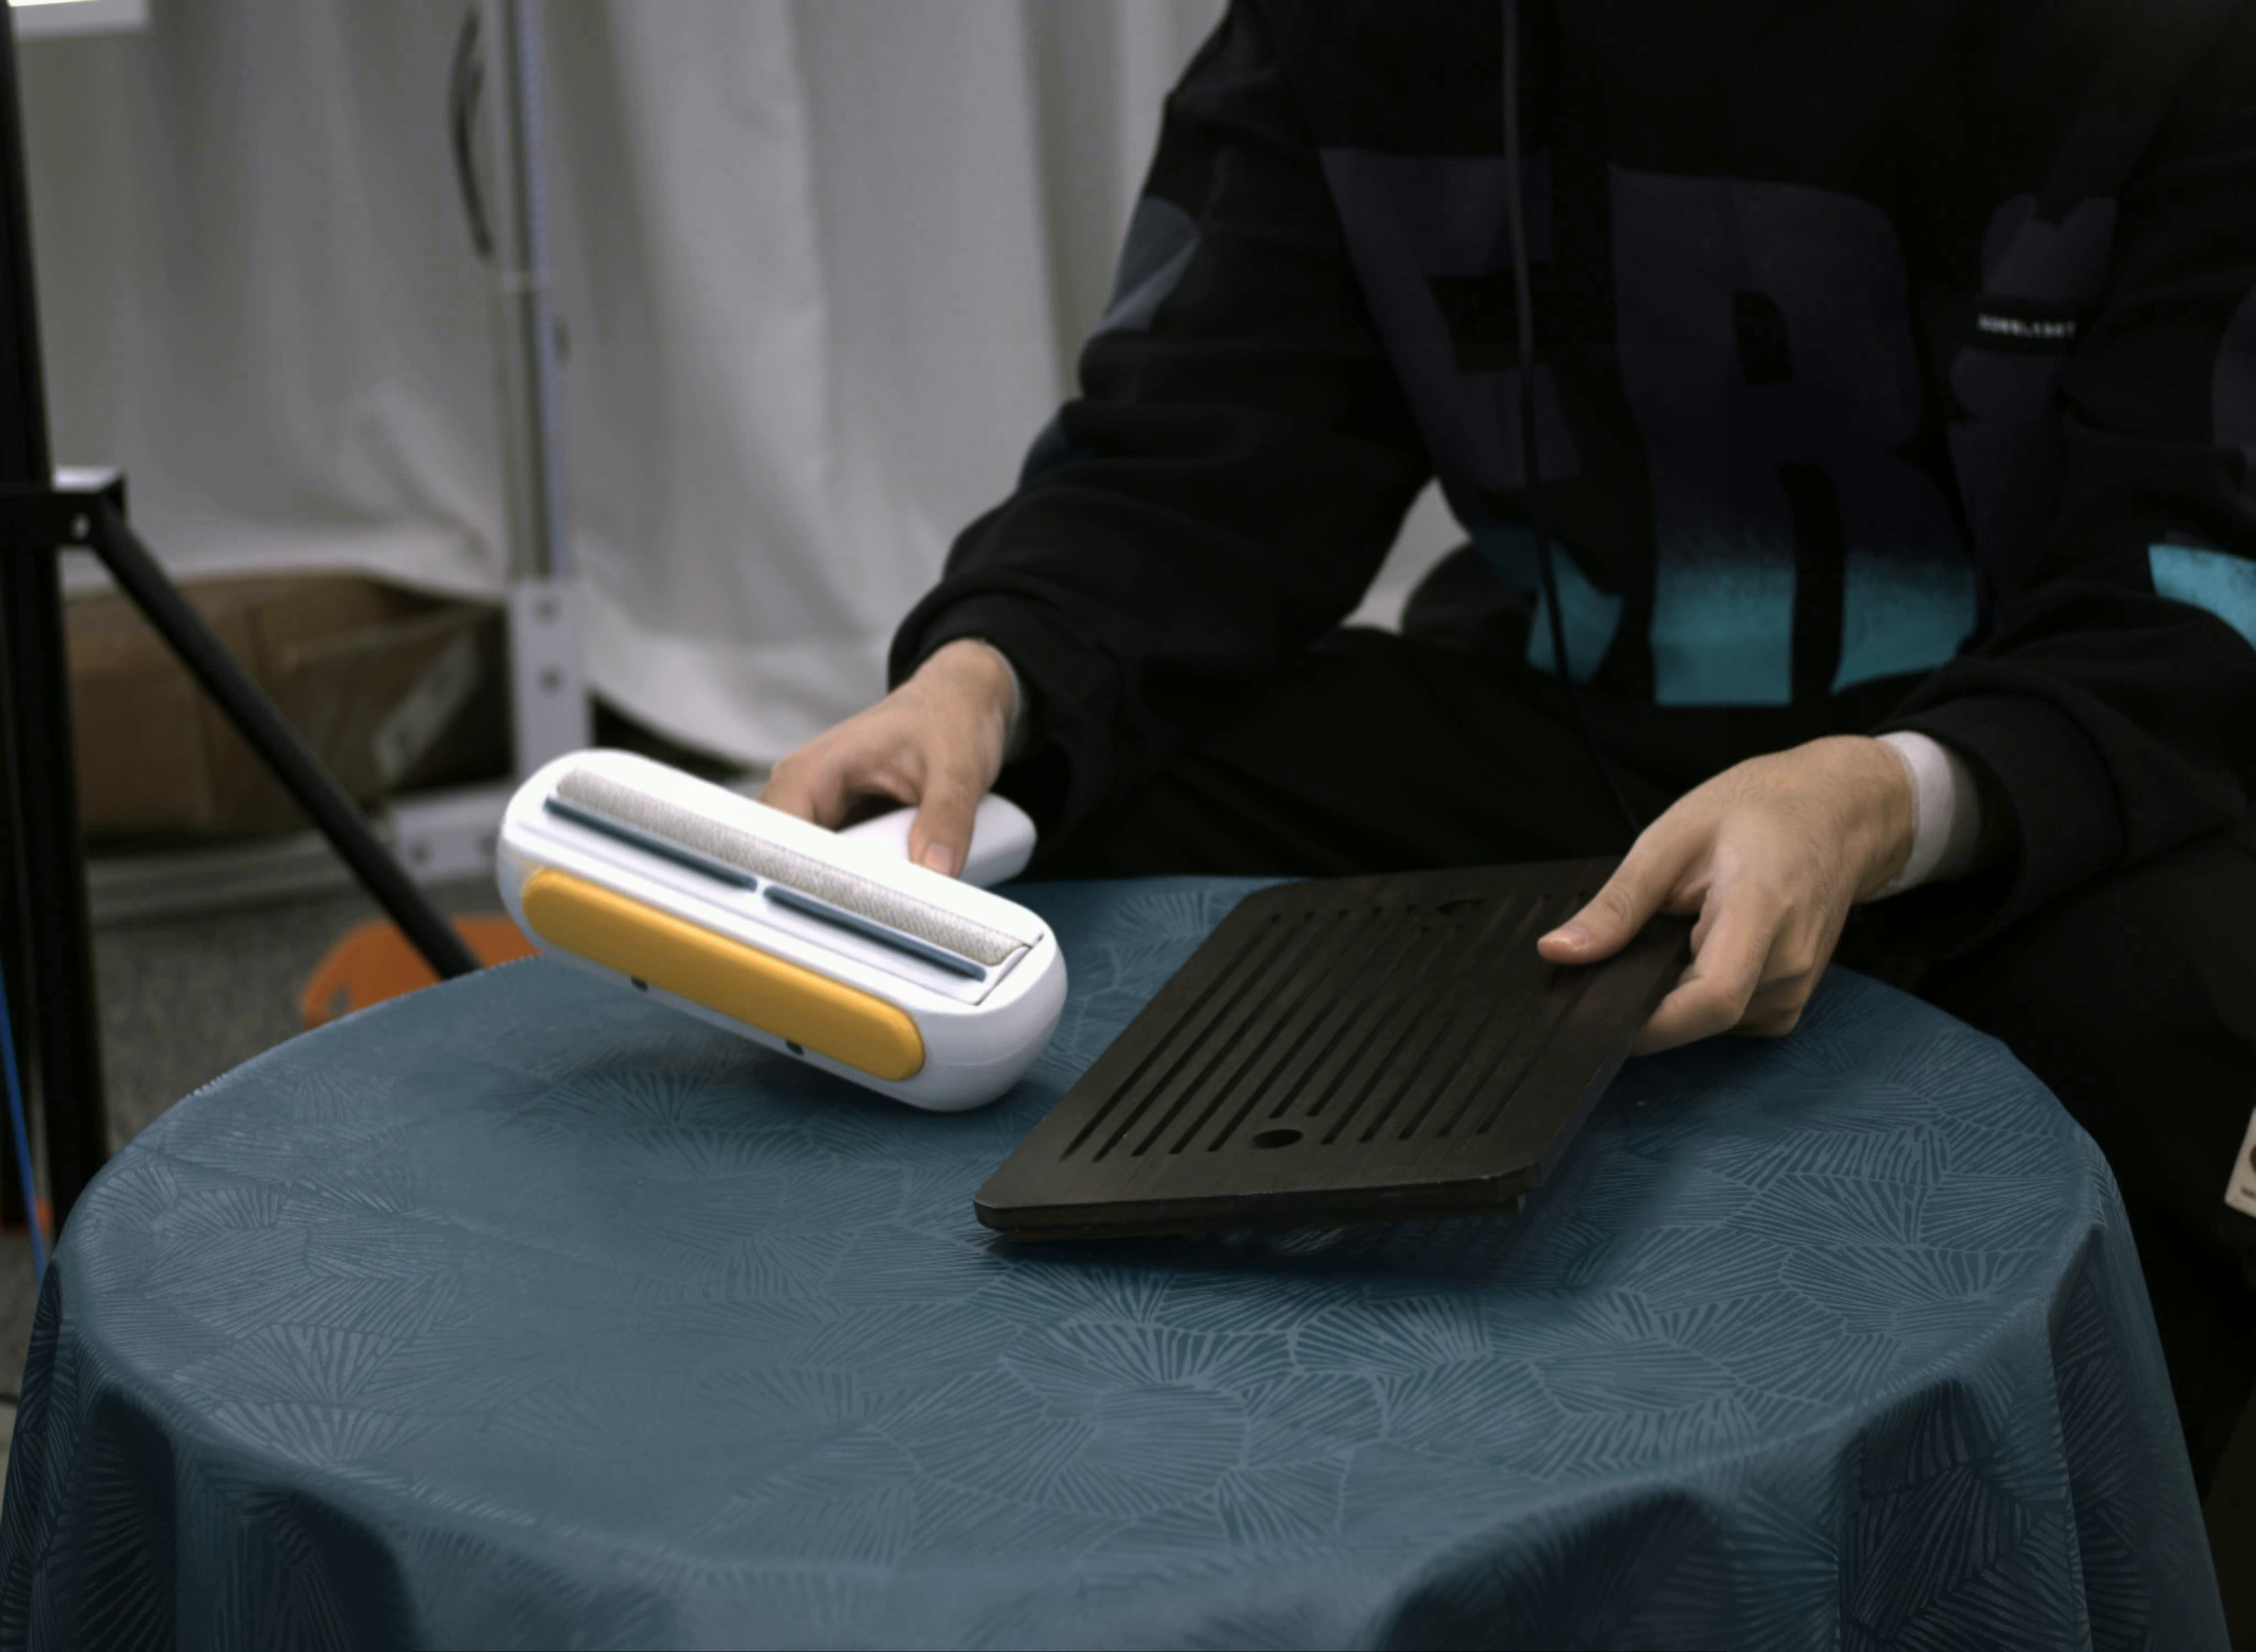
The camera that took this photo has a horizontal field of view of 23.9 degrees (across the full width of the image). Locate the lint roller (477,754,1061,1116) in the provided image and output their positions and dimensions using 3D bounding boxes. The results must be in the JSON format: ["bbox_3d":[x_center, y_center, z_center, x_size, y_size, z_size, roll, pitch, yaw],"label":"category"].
[{"bbox_3d":[-0.086,0.019,1.718,0.196,0.074,0.189,18,31,29],"label":"lint roller"}]

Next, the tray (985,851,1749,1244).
[{"bbox_3d":[0.081,0.066,1.614,0.172,0.018,0.303,-5,15,20],"label":"tray"}]
